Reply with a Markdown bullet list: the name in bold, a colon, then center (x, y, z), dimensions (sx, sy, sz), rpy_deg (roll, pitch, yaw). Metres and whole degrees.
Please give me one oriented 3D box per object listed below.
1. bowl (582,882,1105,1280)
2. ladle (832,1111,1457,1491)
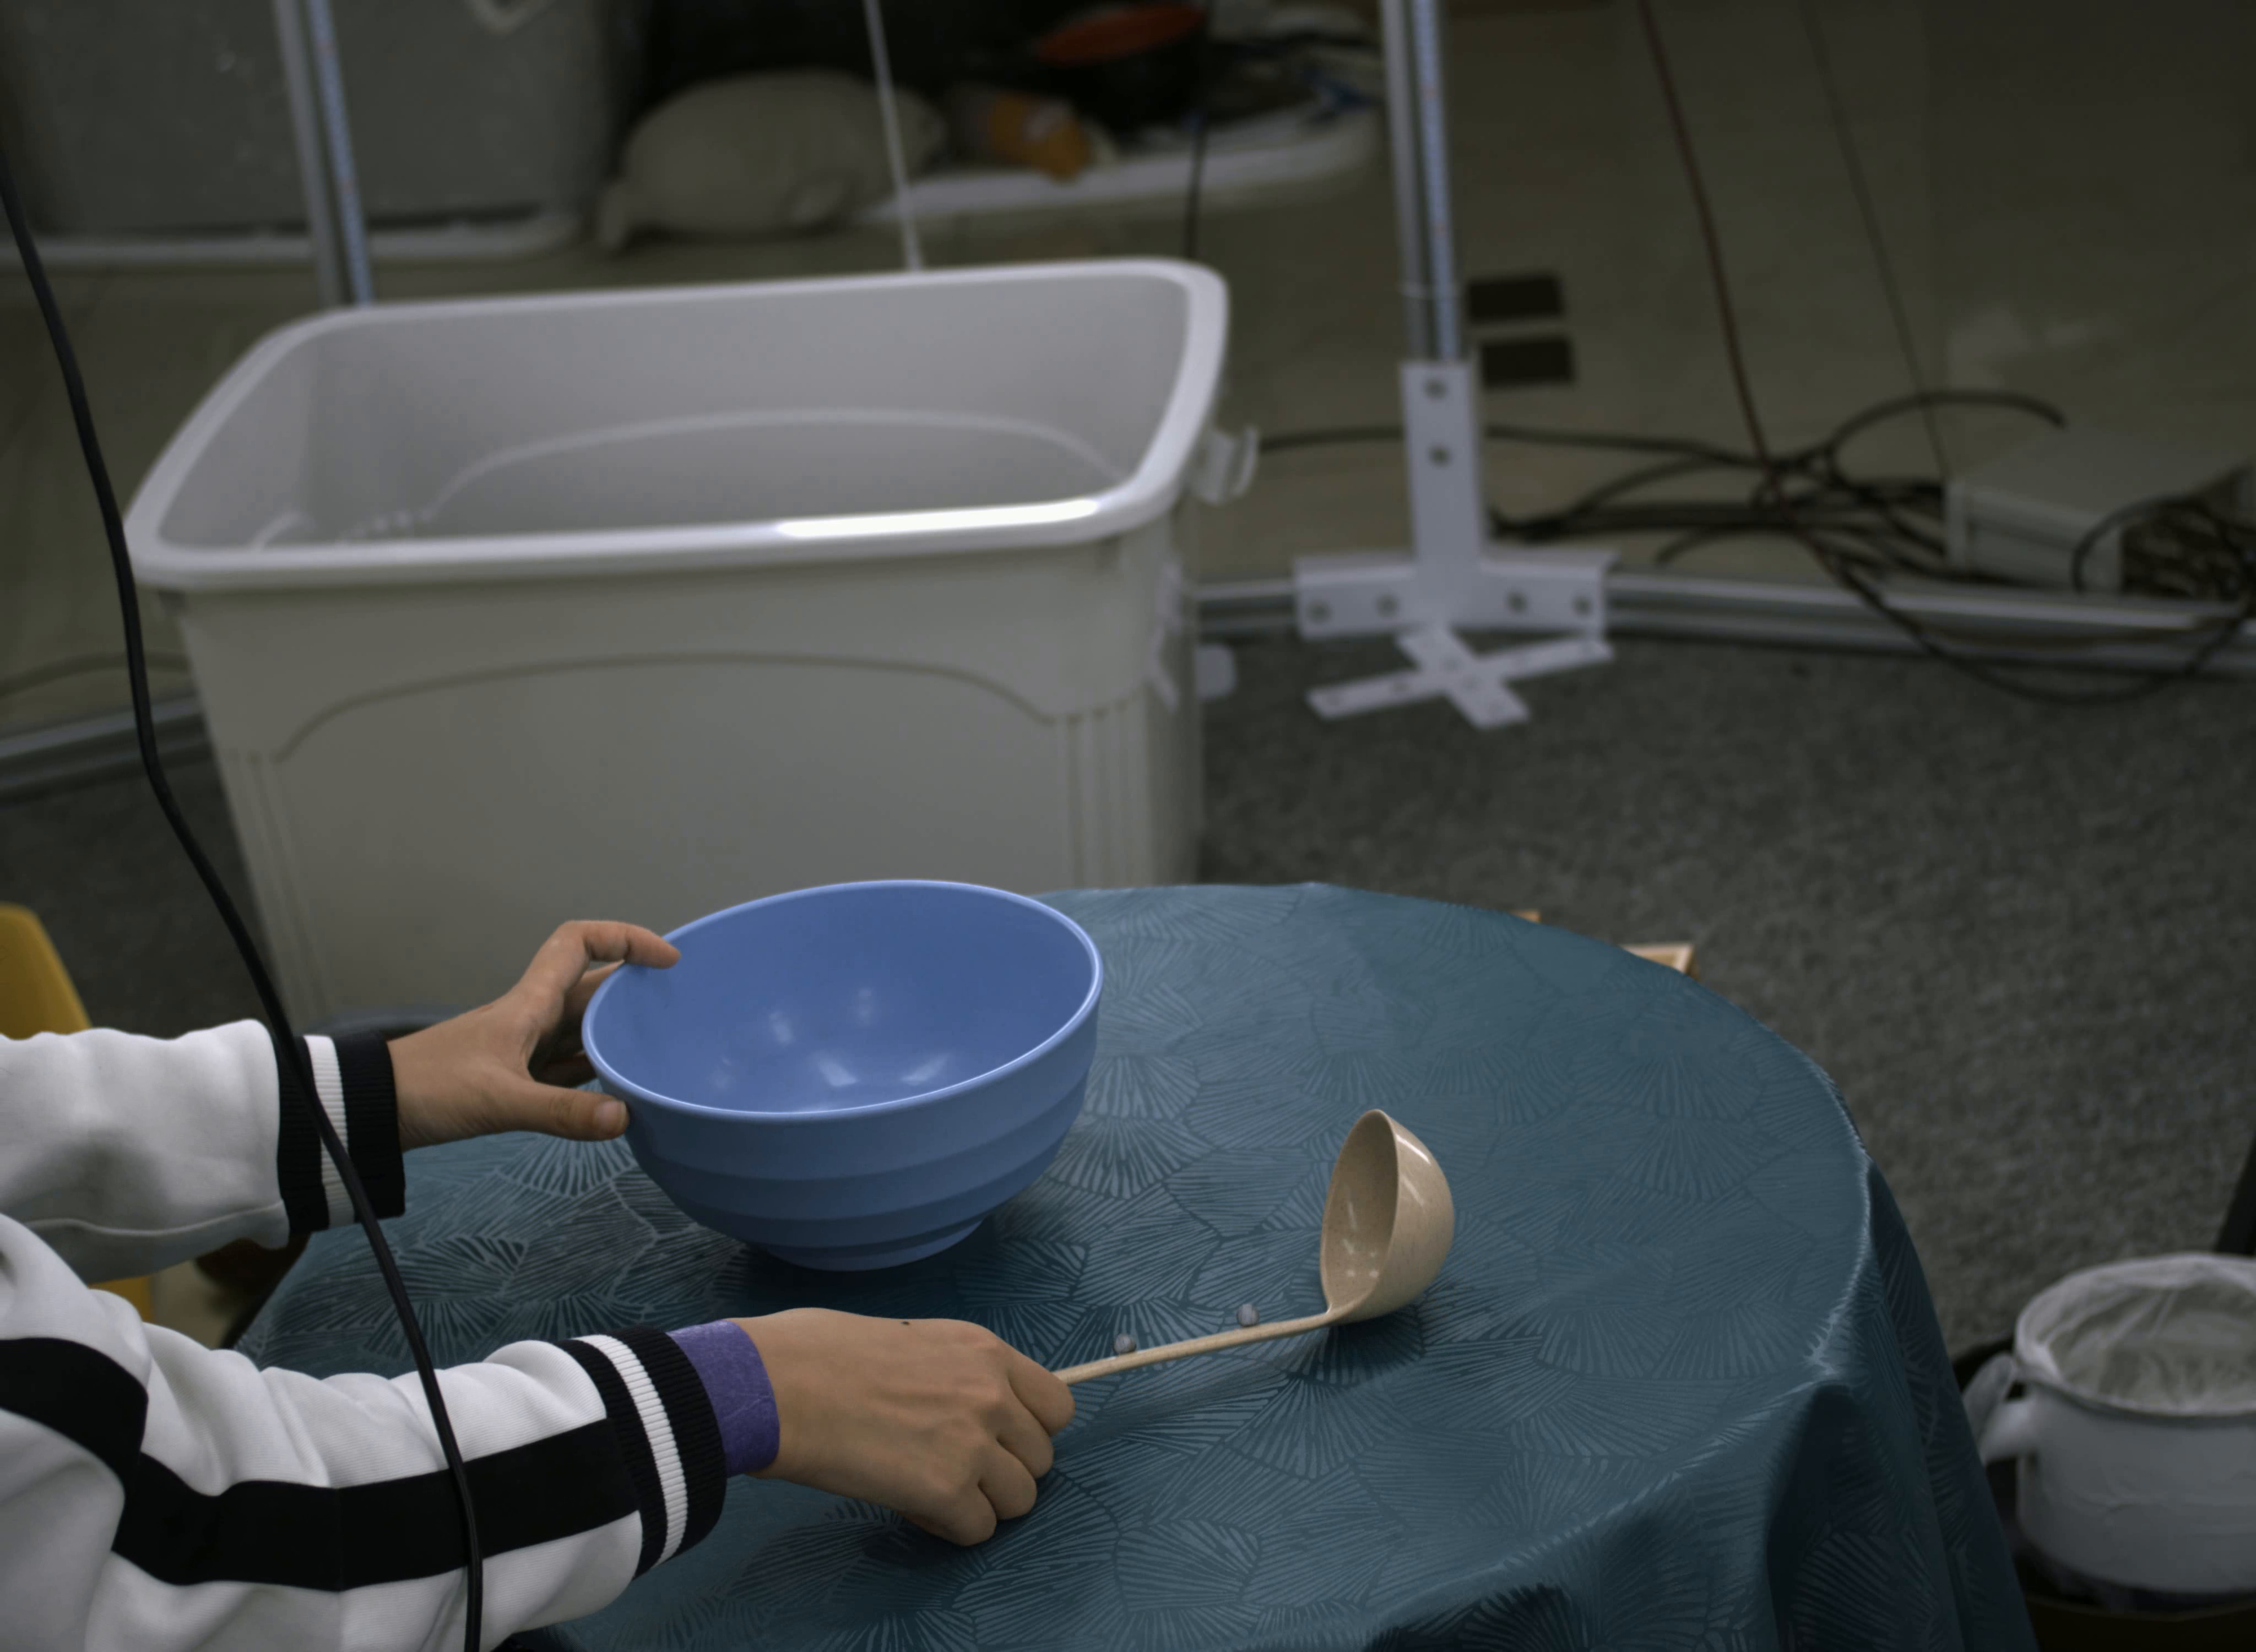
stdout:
- **bowl**: center (-0.102, 0.107, 2.135), dimensions (0.196, 0.097, 0.193), rpy_deg (-5, 27, 2)
- **ladle**: center (-0.001, 0.163, 1.993), dimensions (0.253, 0.073, 0.072), rpy_deg (-15, -5, -26)
